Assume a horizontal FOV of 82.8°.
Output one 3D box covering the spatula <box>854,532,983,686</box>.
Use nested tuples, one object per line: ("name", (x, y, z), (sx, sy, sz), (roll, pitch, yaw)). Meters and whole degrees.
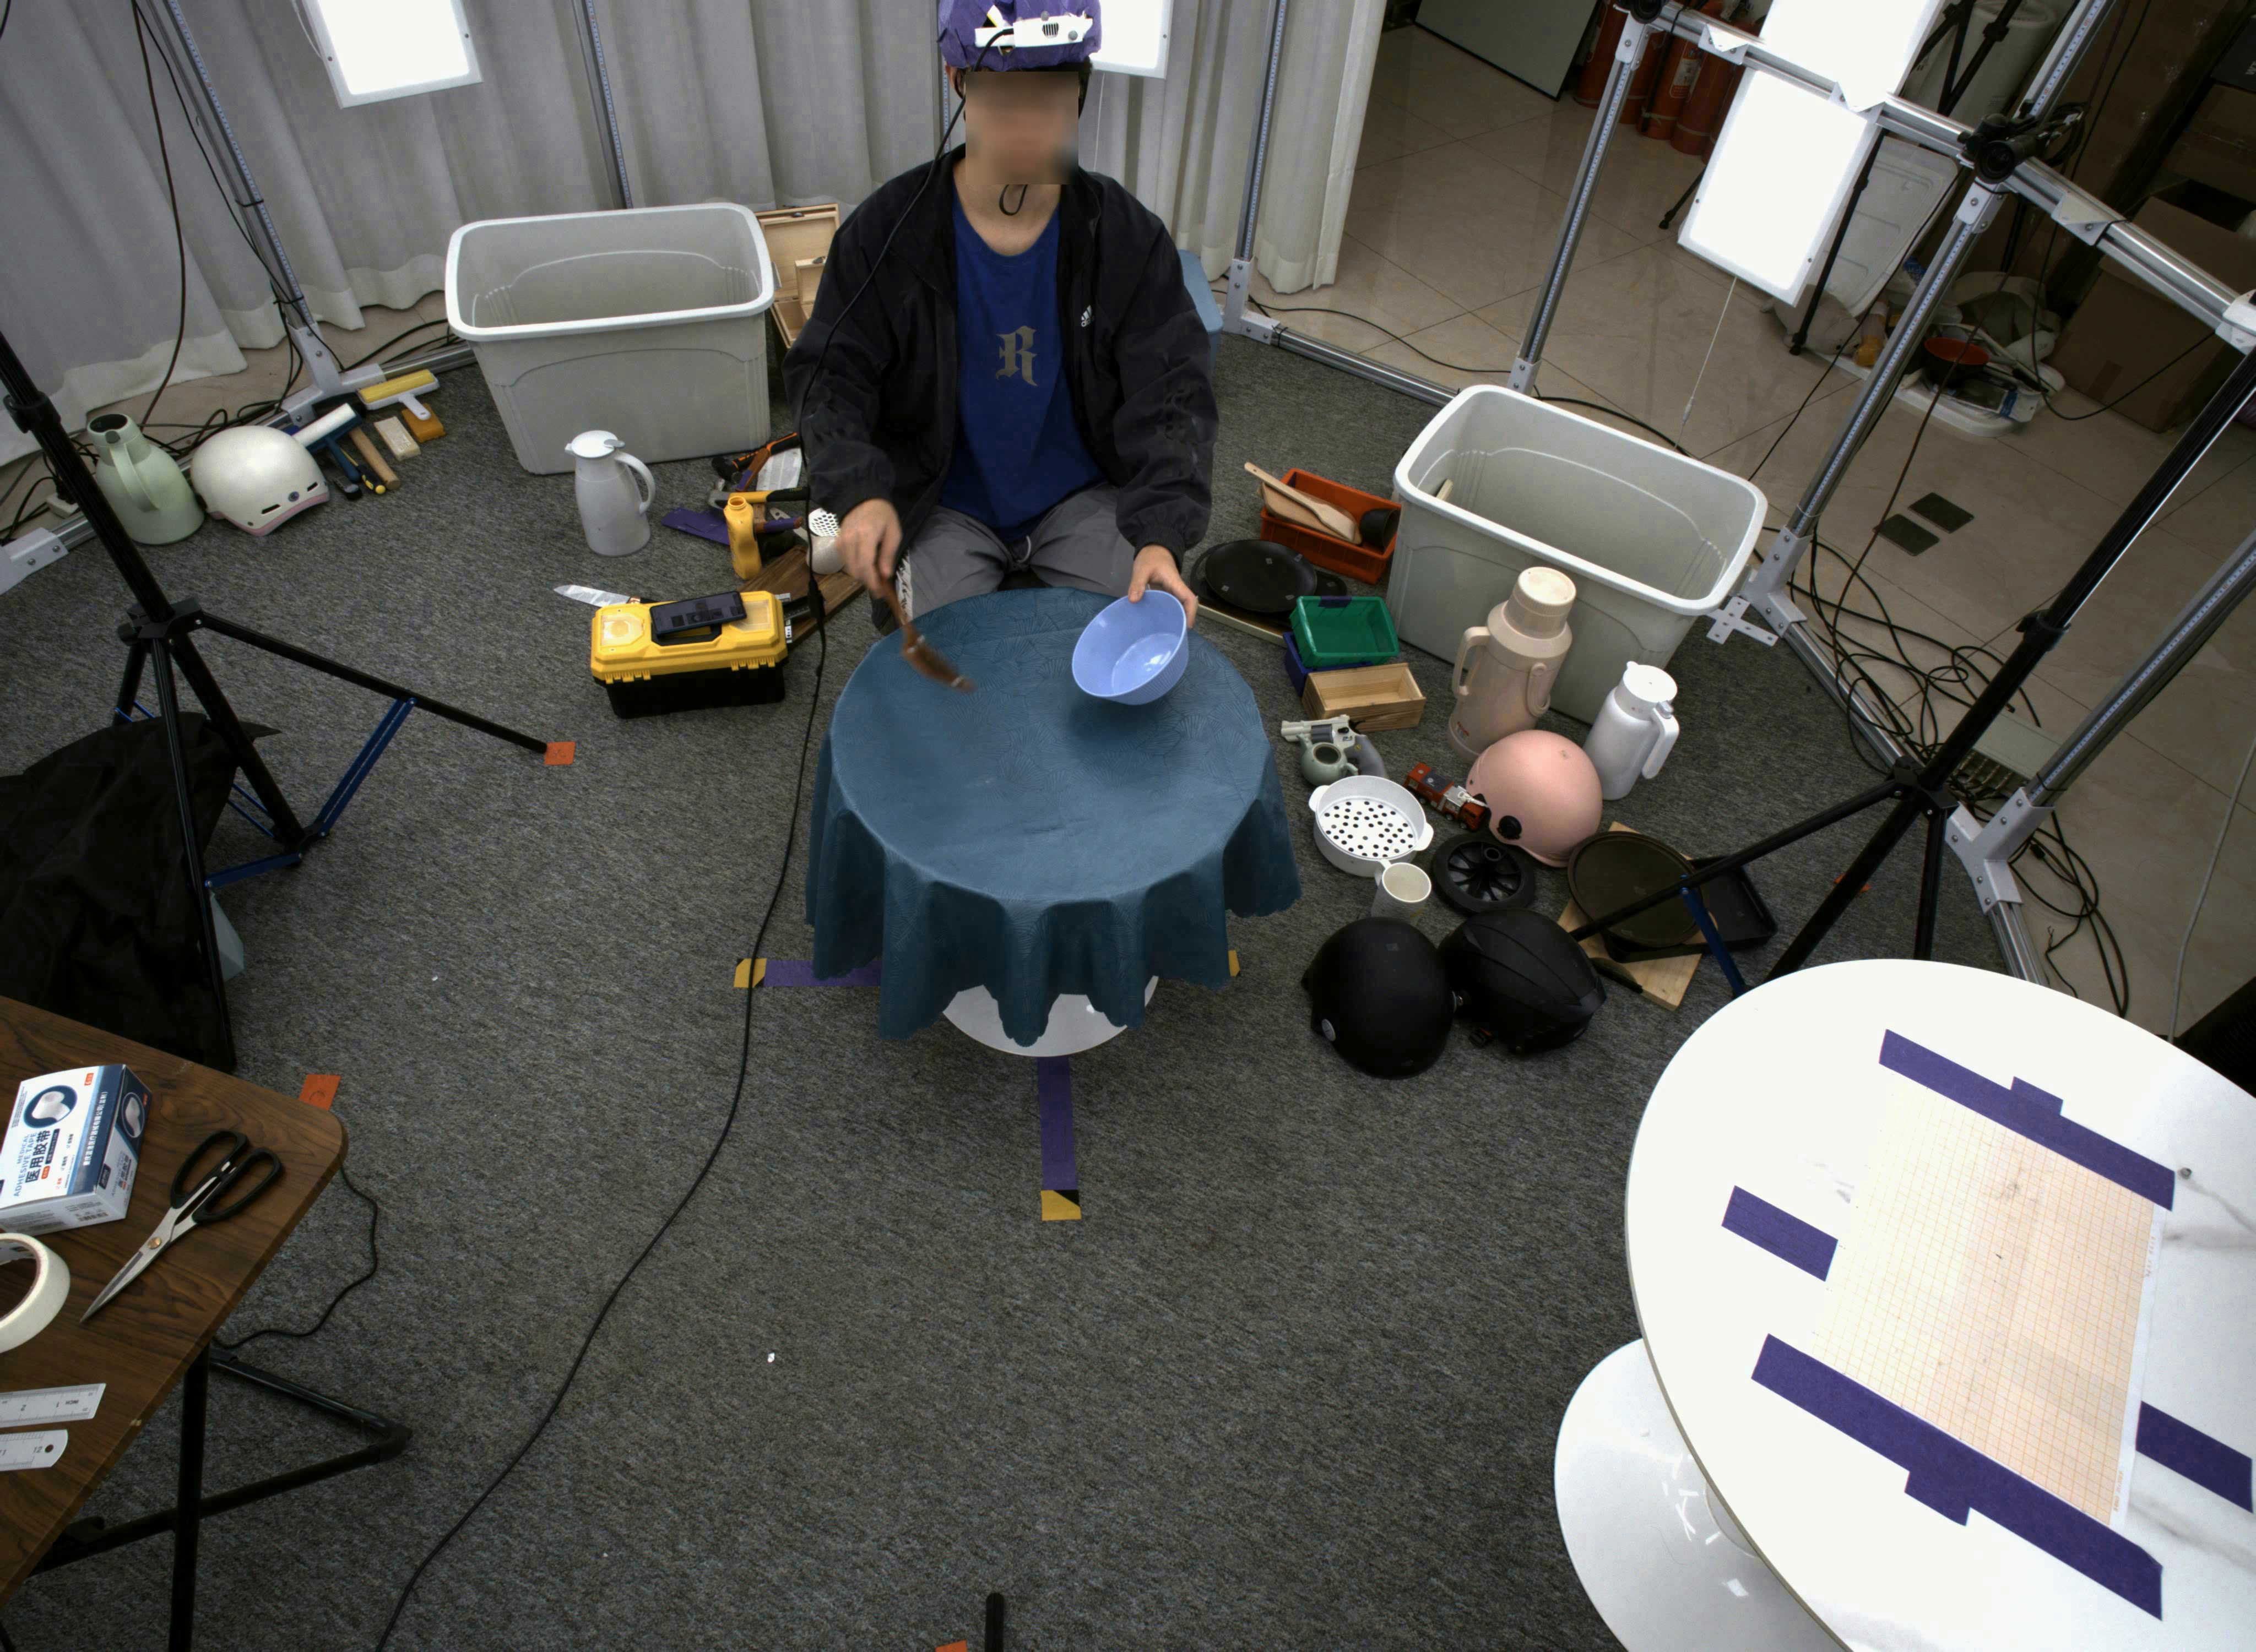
("spatula", (-0.299, -0.295, 1.731), (0.085, 0.023, 0.395), (11, 32, -40))

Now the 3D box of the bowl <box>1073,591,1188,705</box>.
("bowl", (0.015, -0.232, 1.758), (0.175, 0.069, 0.180), (-19, 49, 24))
